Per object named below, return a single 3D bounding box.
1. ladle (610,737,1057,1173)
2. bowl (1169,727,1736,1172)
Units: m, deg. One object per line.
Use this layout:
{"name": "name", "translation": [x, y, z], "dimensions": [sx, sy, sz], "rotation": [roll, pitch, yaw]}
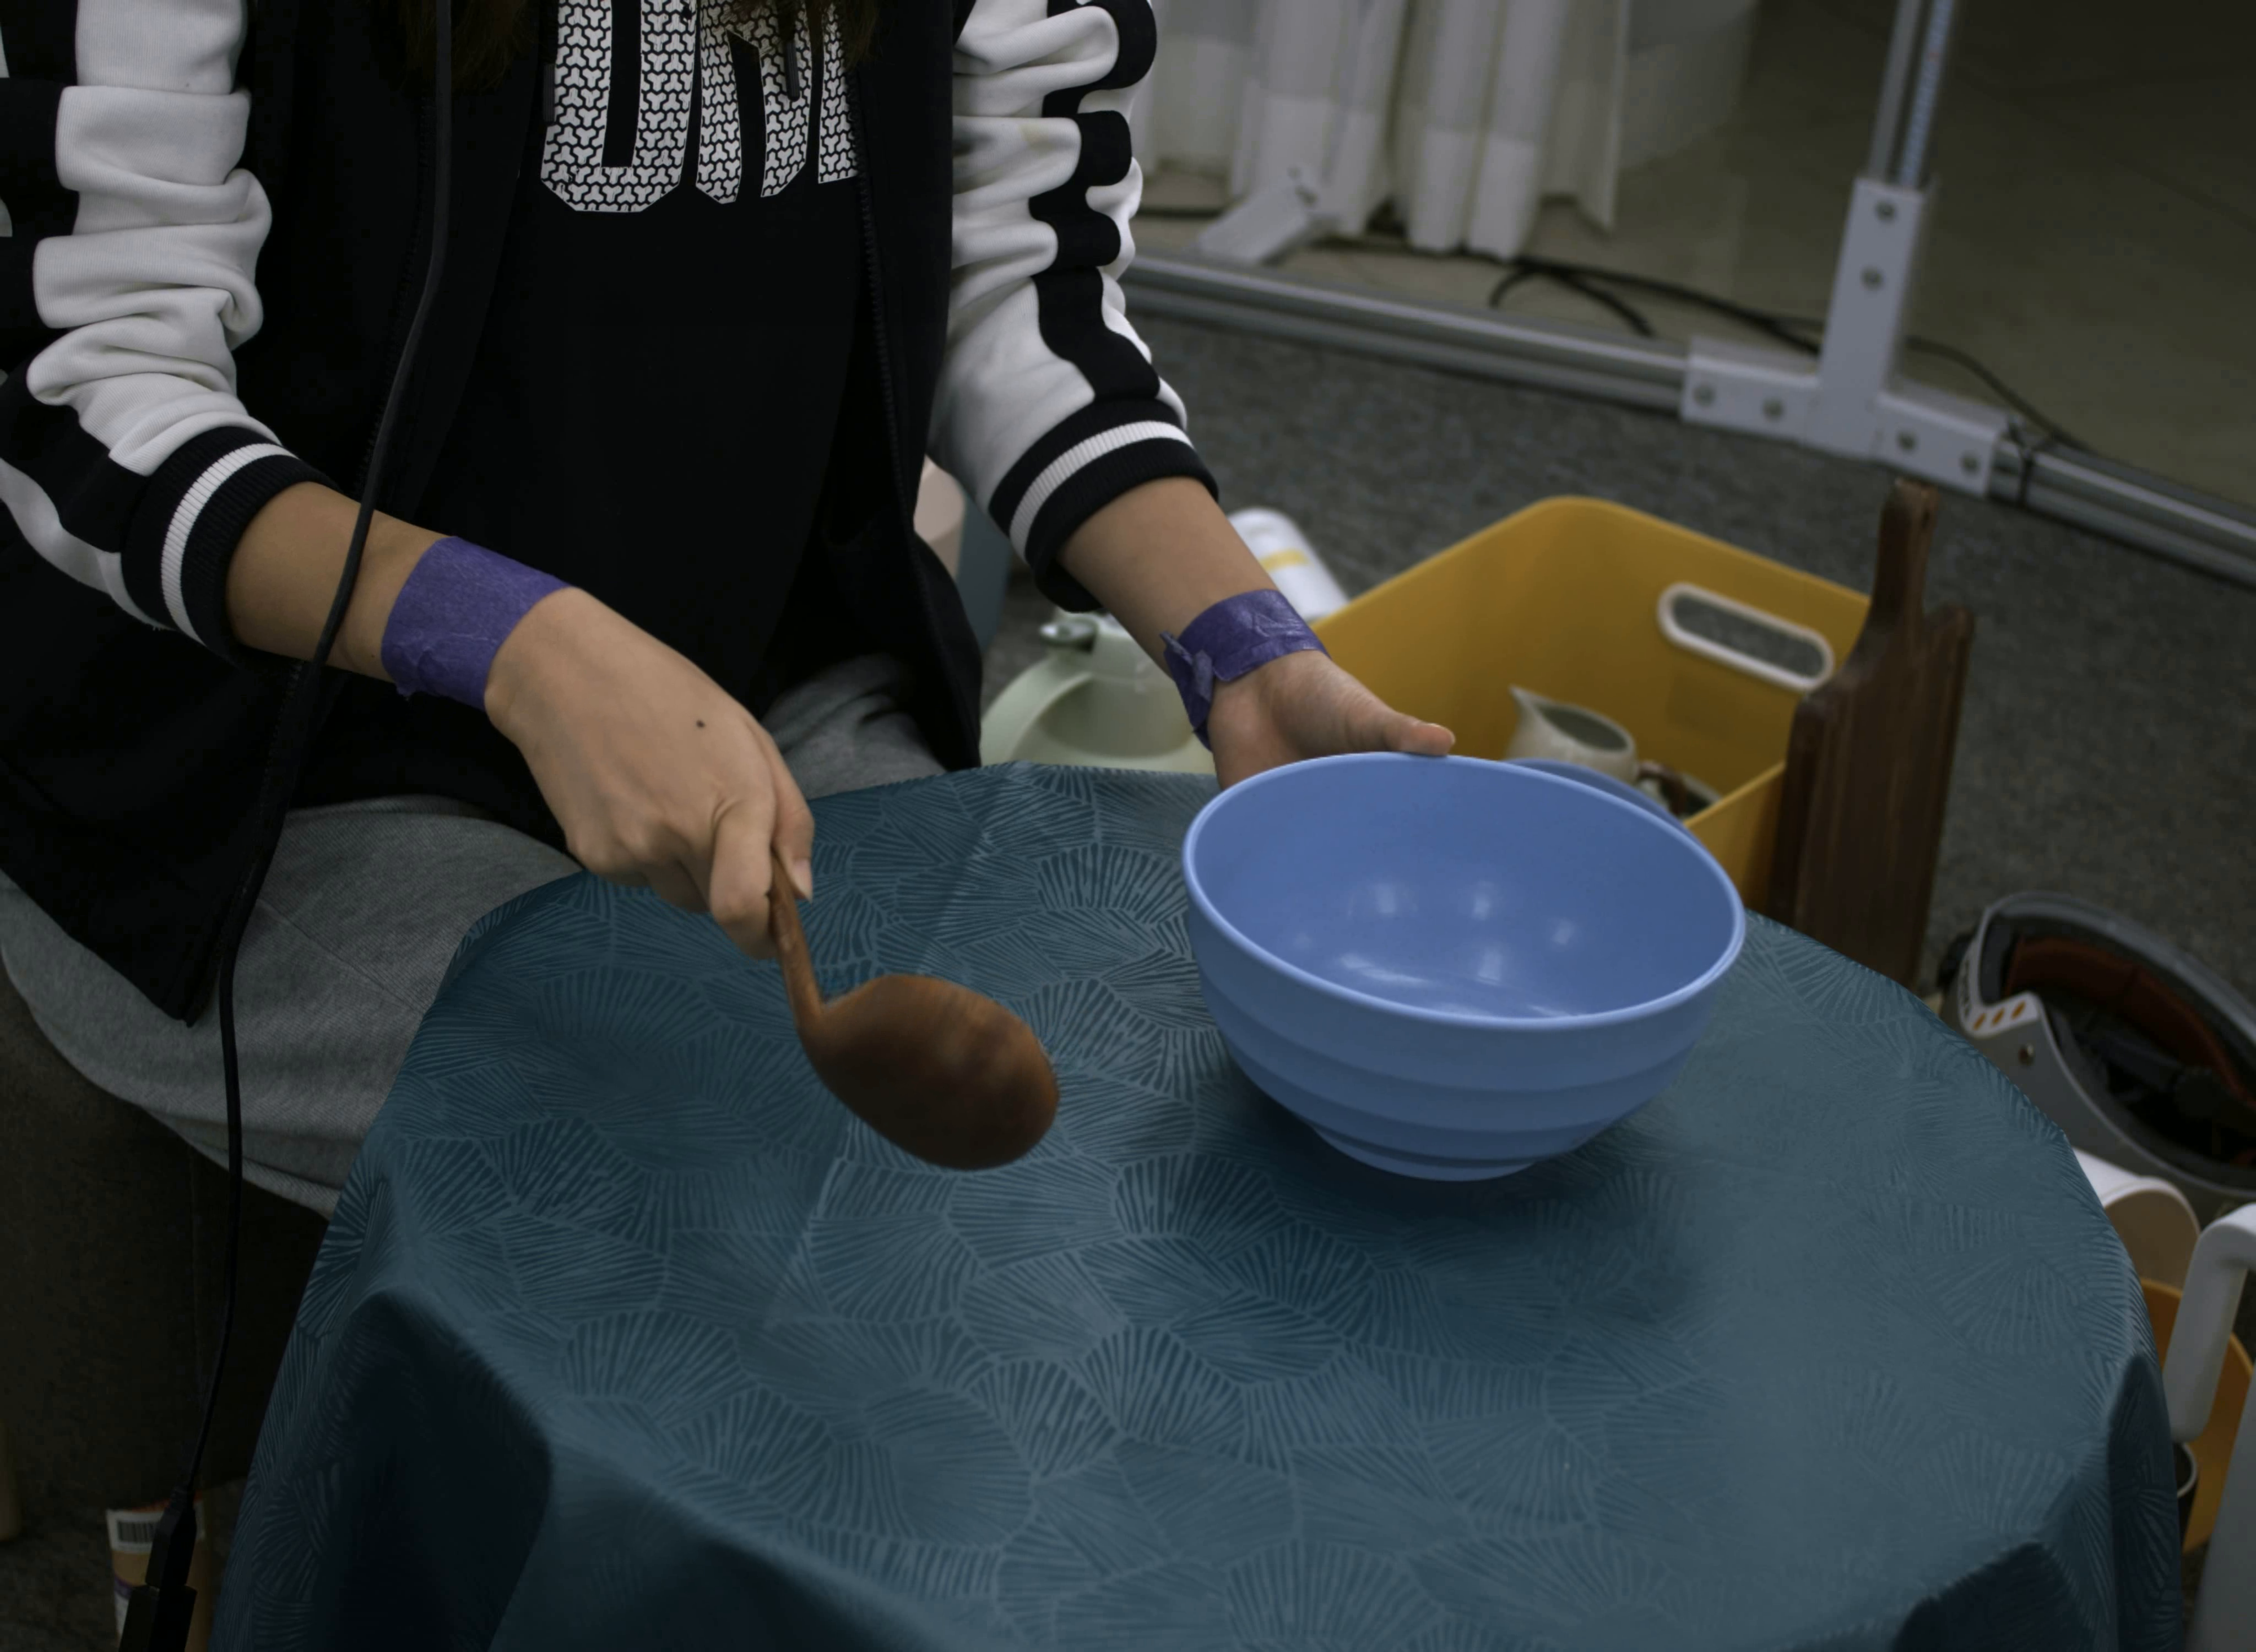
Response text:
{"name": "ladle", "translation": [-0.099, 0.030, 1.739], "dimensions": [0.065, 0.076, 0.262], "rotation": [-25, 37, -11]}
{"name": "bowl", "translation": [0.108, 0.056, 1.855], "dimensions": [0.196, 0.095, 0.198], "rotation": [3, 33, -2]}
